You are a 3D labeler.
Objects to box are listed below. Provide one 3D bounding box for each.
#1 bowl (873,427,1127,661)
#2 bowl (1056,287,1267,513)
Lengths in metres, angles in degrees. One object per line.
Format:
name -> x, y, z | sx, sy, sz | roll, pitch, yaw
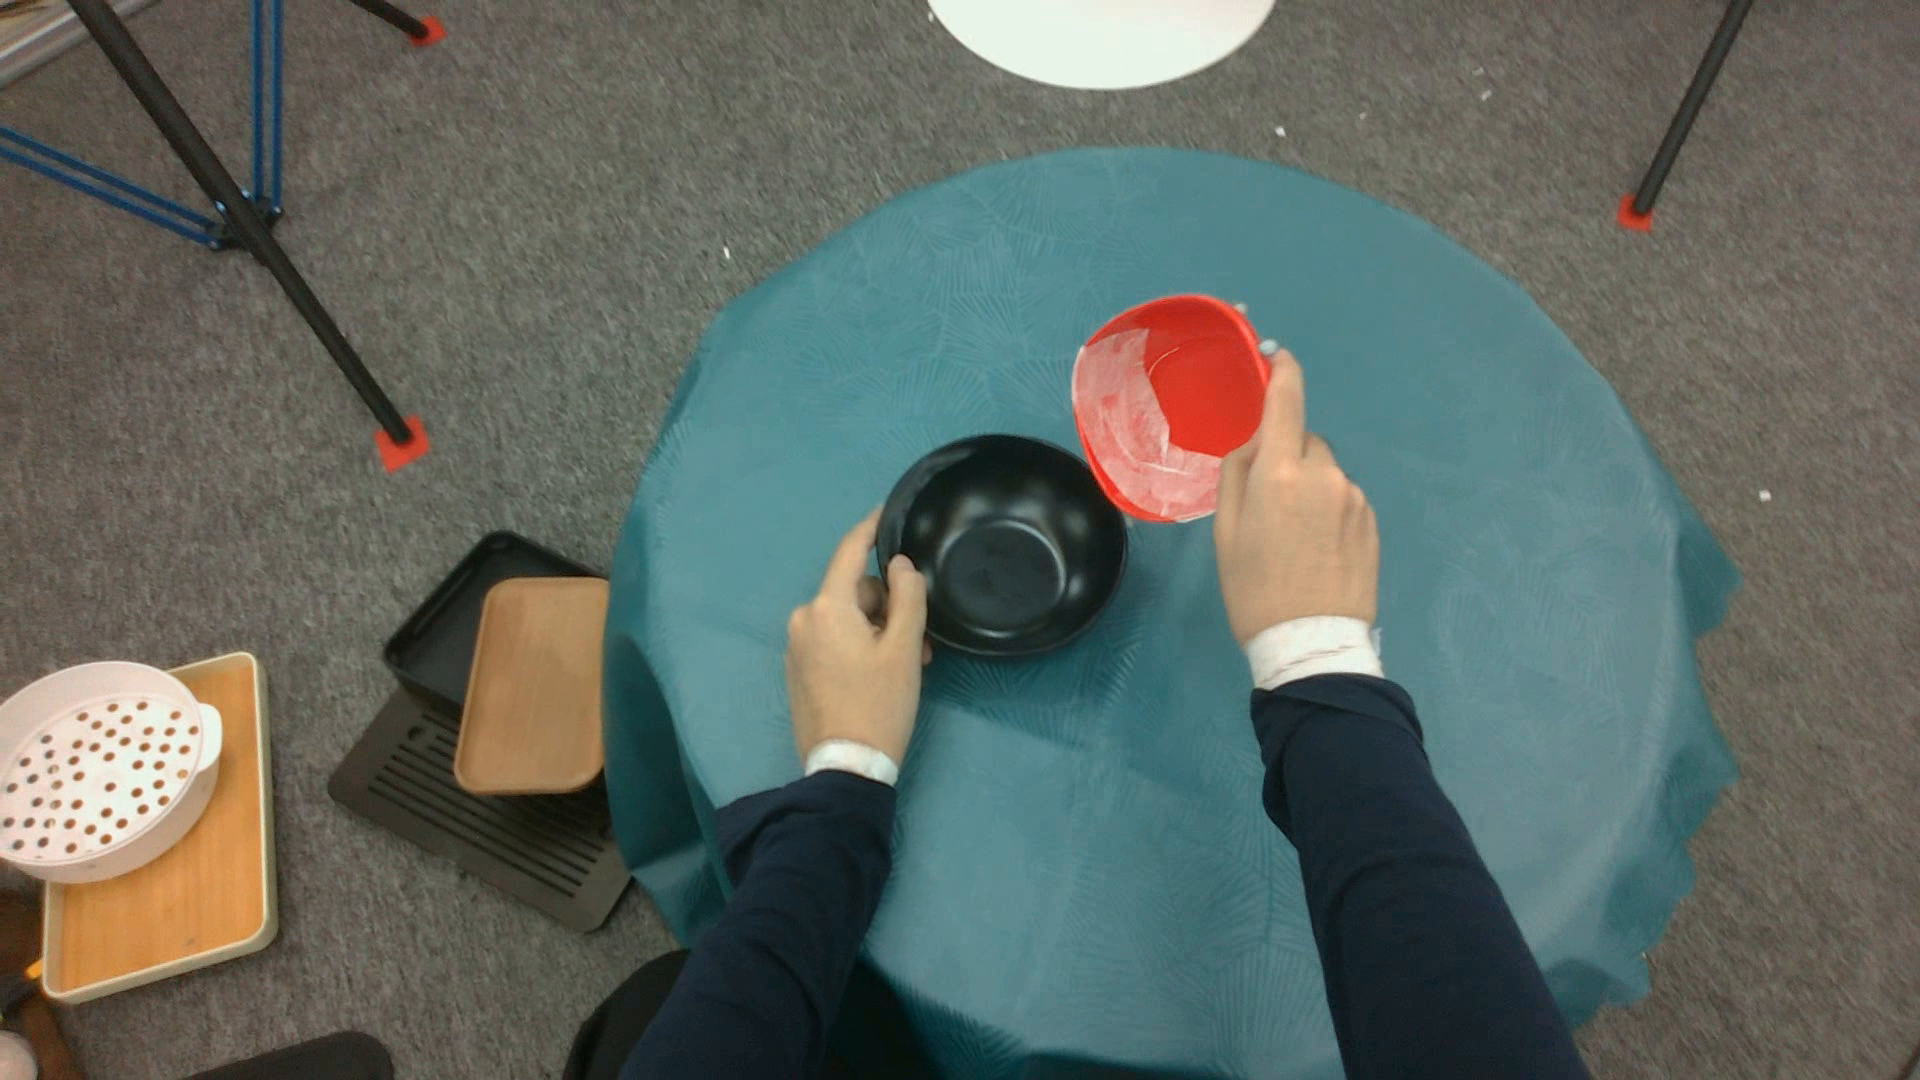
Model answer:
bowl -> 0.022, 0.008, 0.773 | 0.140, 0.049, 0.140 | 0, 65, 1
bowl -> 0.111, -0.073, 0.708 | 0.119, 0.118, 0.051 | 42, 33, 22
